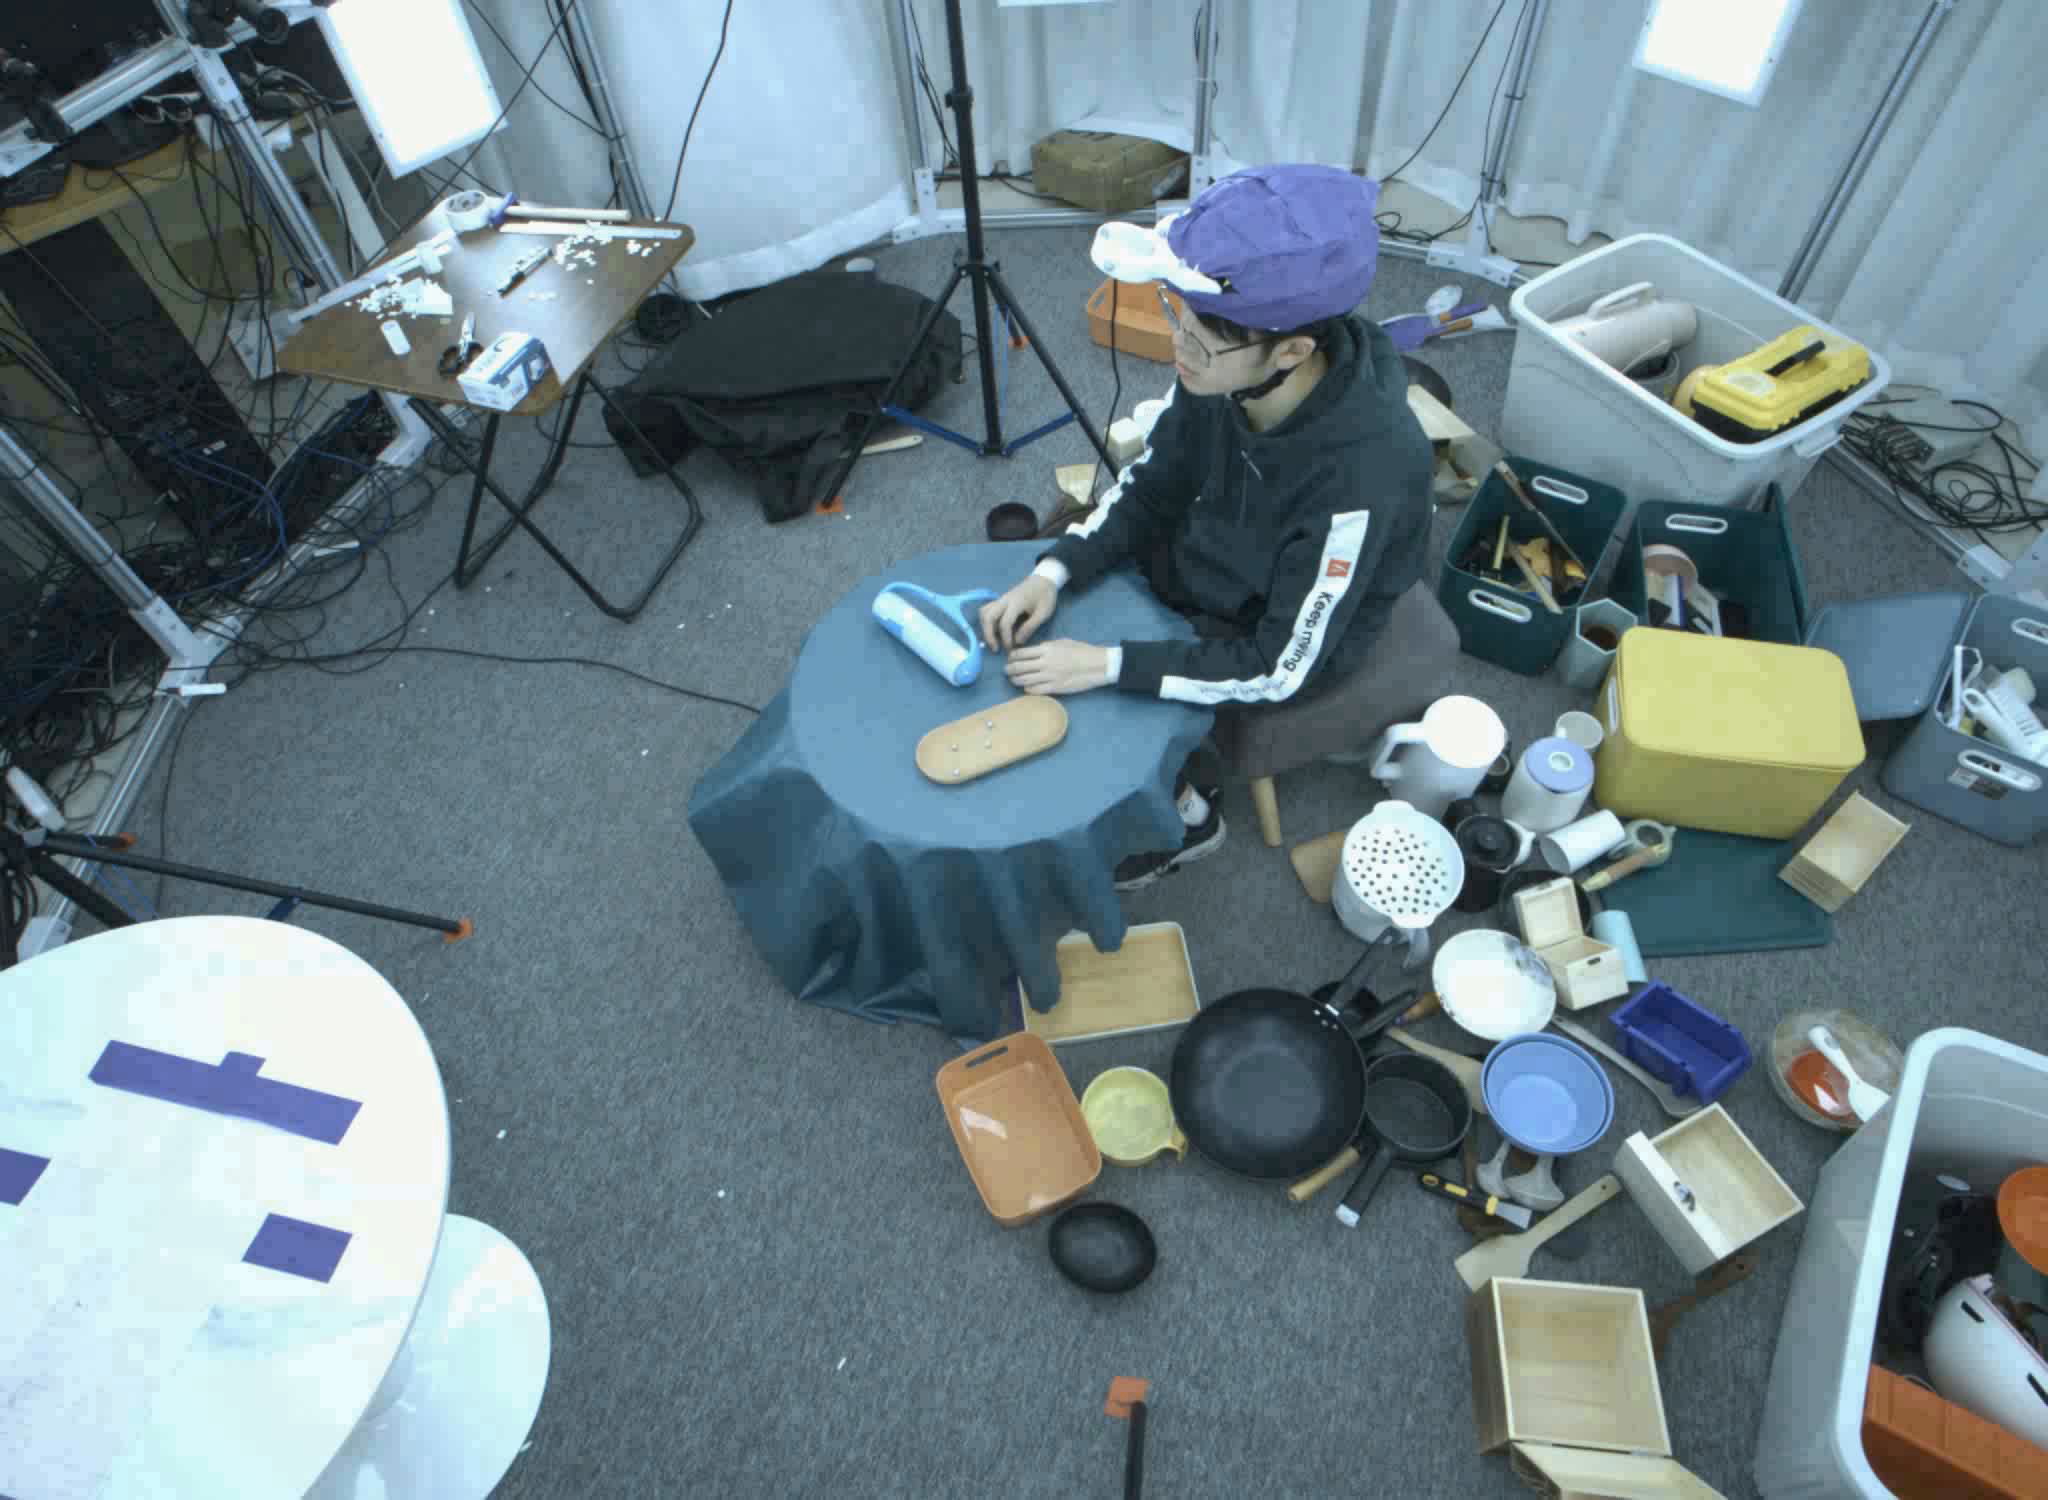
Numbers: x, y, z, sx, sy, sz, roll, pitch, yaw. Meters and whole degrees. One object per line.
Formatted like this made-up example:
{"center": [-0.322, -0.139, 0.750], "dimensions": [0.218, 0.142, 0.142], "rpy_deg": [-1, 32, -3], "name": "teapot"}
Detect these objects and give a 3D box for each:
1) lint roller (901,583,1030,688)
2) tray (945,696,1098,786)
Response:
{"center": [-0.065, -0.206, 1.895], "dimensions": [0.181, 0.069, 0.224], "rpy_deg": [-40, 61, -22], "name": "lint roller"}
{"center": [-0.002, -0.013, 1.783], "dimensions": [0.233, 0.020, 0.100], "rpy_deg": [-19, 57, -13], "name": "tray"}
